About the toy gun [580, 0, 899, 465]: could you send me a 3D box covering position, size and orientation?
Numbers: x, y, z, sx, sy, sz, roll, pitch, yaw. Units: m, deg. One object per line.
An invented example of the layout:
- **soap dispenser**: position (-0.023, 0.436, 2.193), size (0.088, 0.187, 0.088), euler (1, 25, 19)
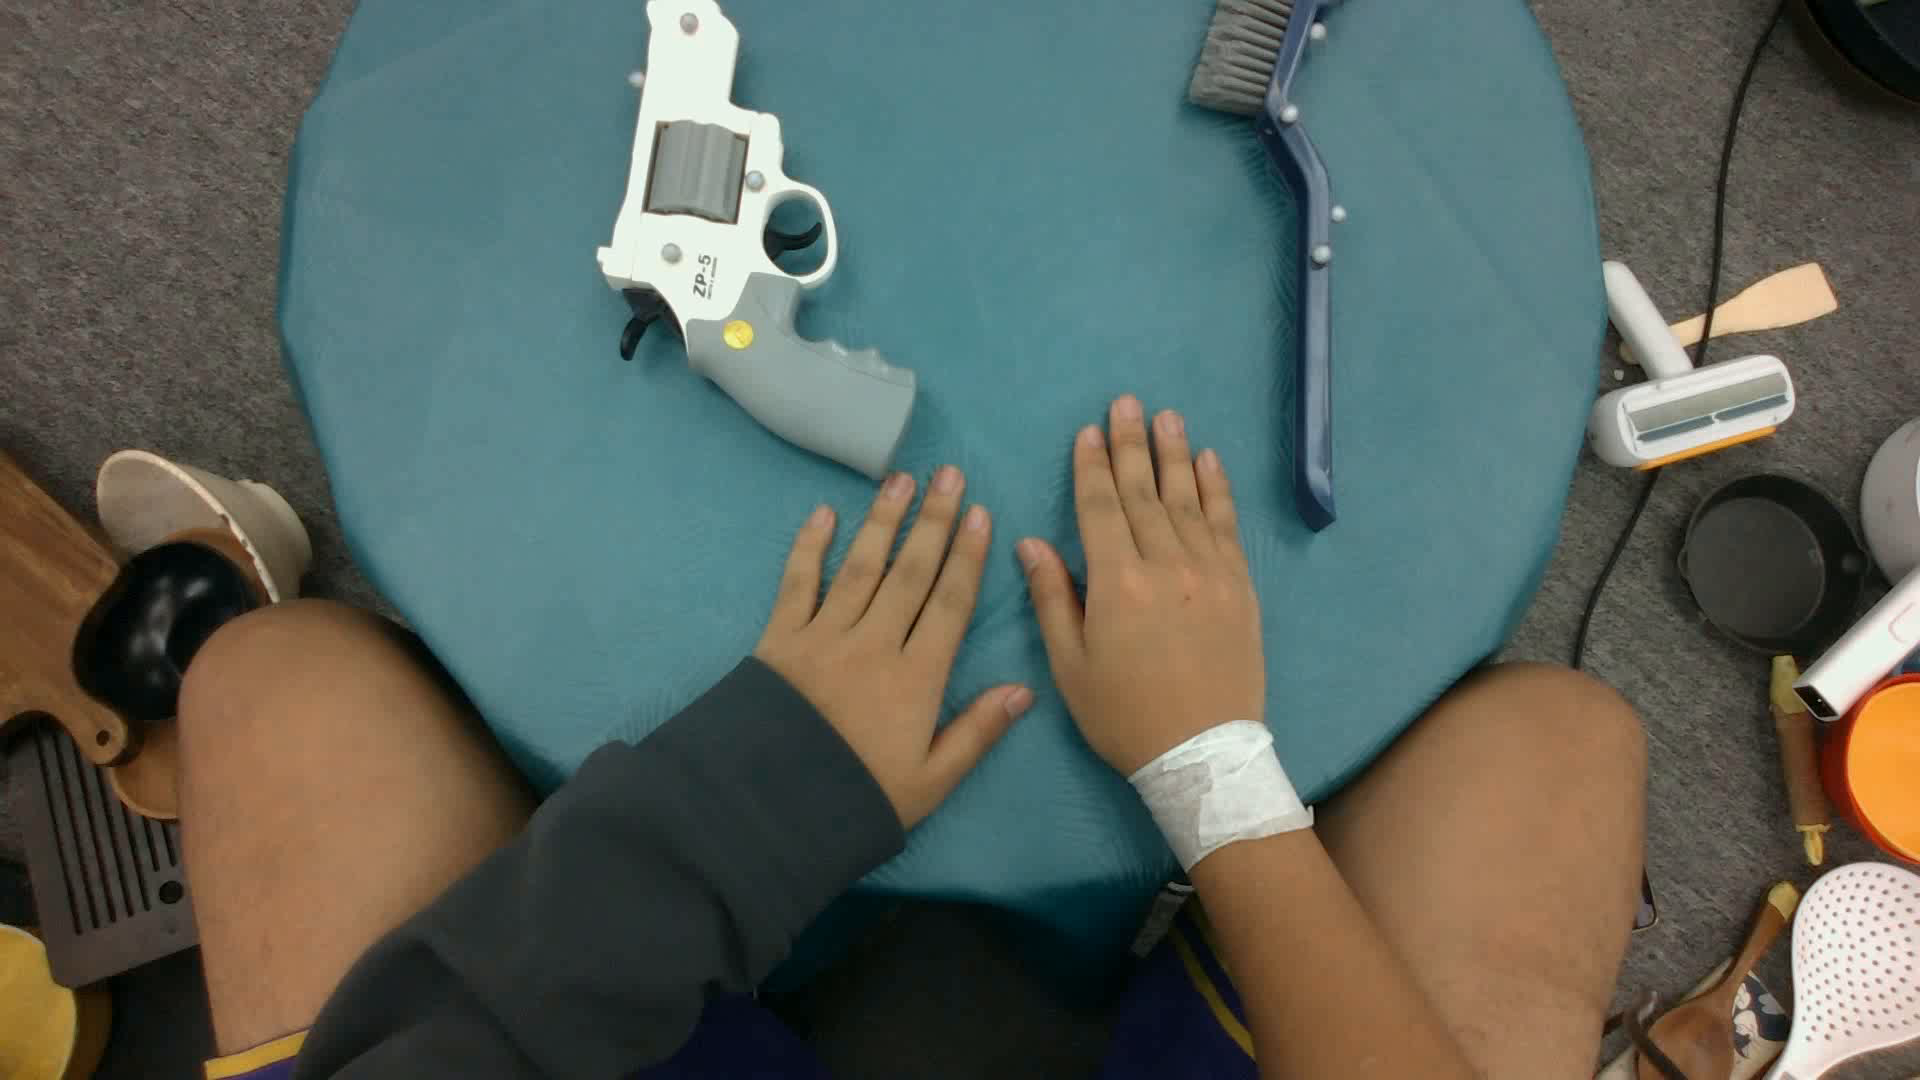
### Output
- **toy gun**: position (-0.092, -0.141, 0.608), size (0.141, 0.039, 0.209), euler (6, 79, -4)

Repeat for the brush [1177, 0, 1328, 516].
- **brush**: position (0.156, -0.148, 0.629), size (0.096, 0.033, 0.273), euler (-5, 79, -5)
